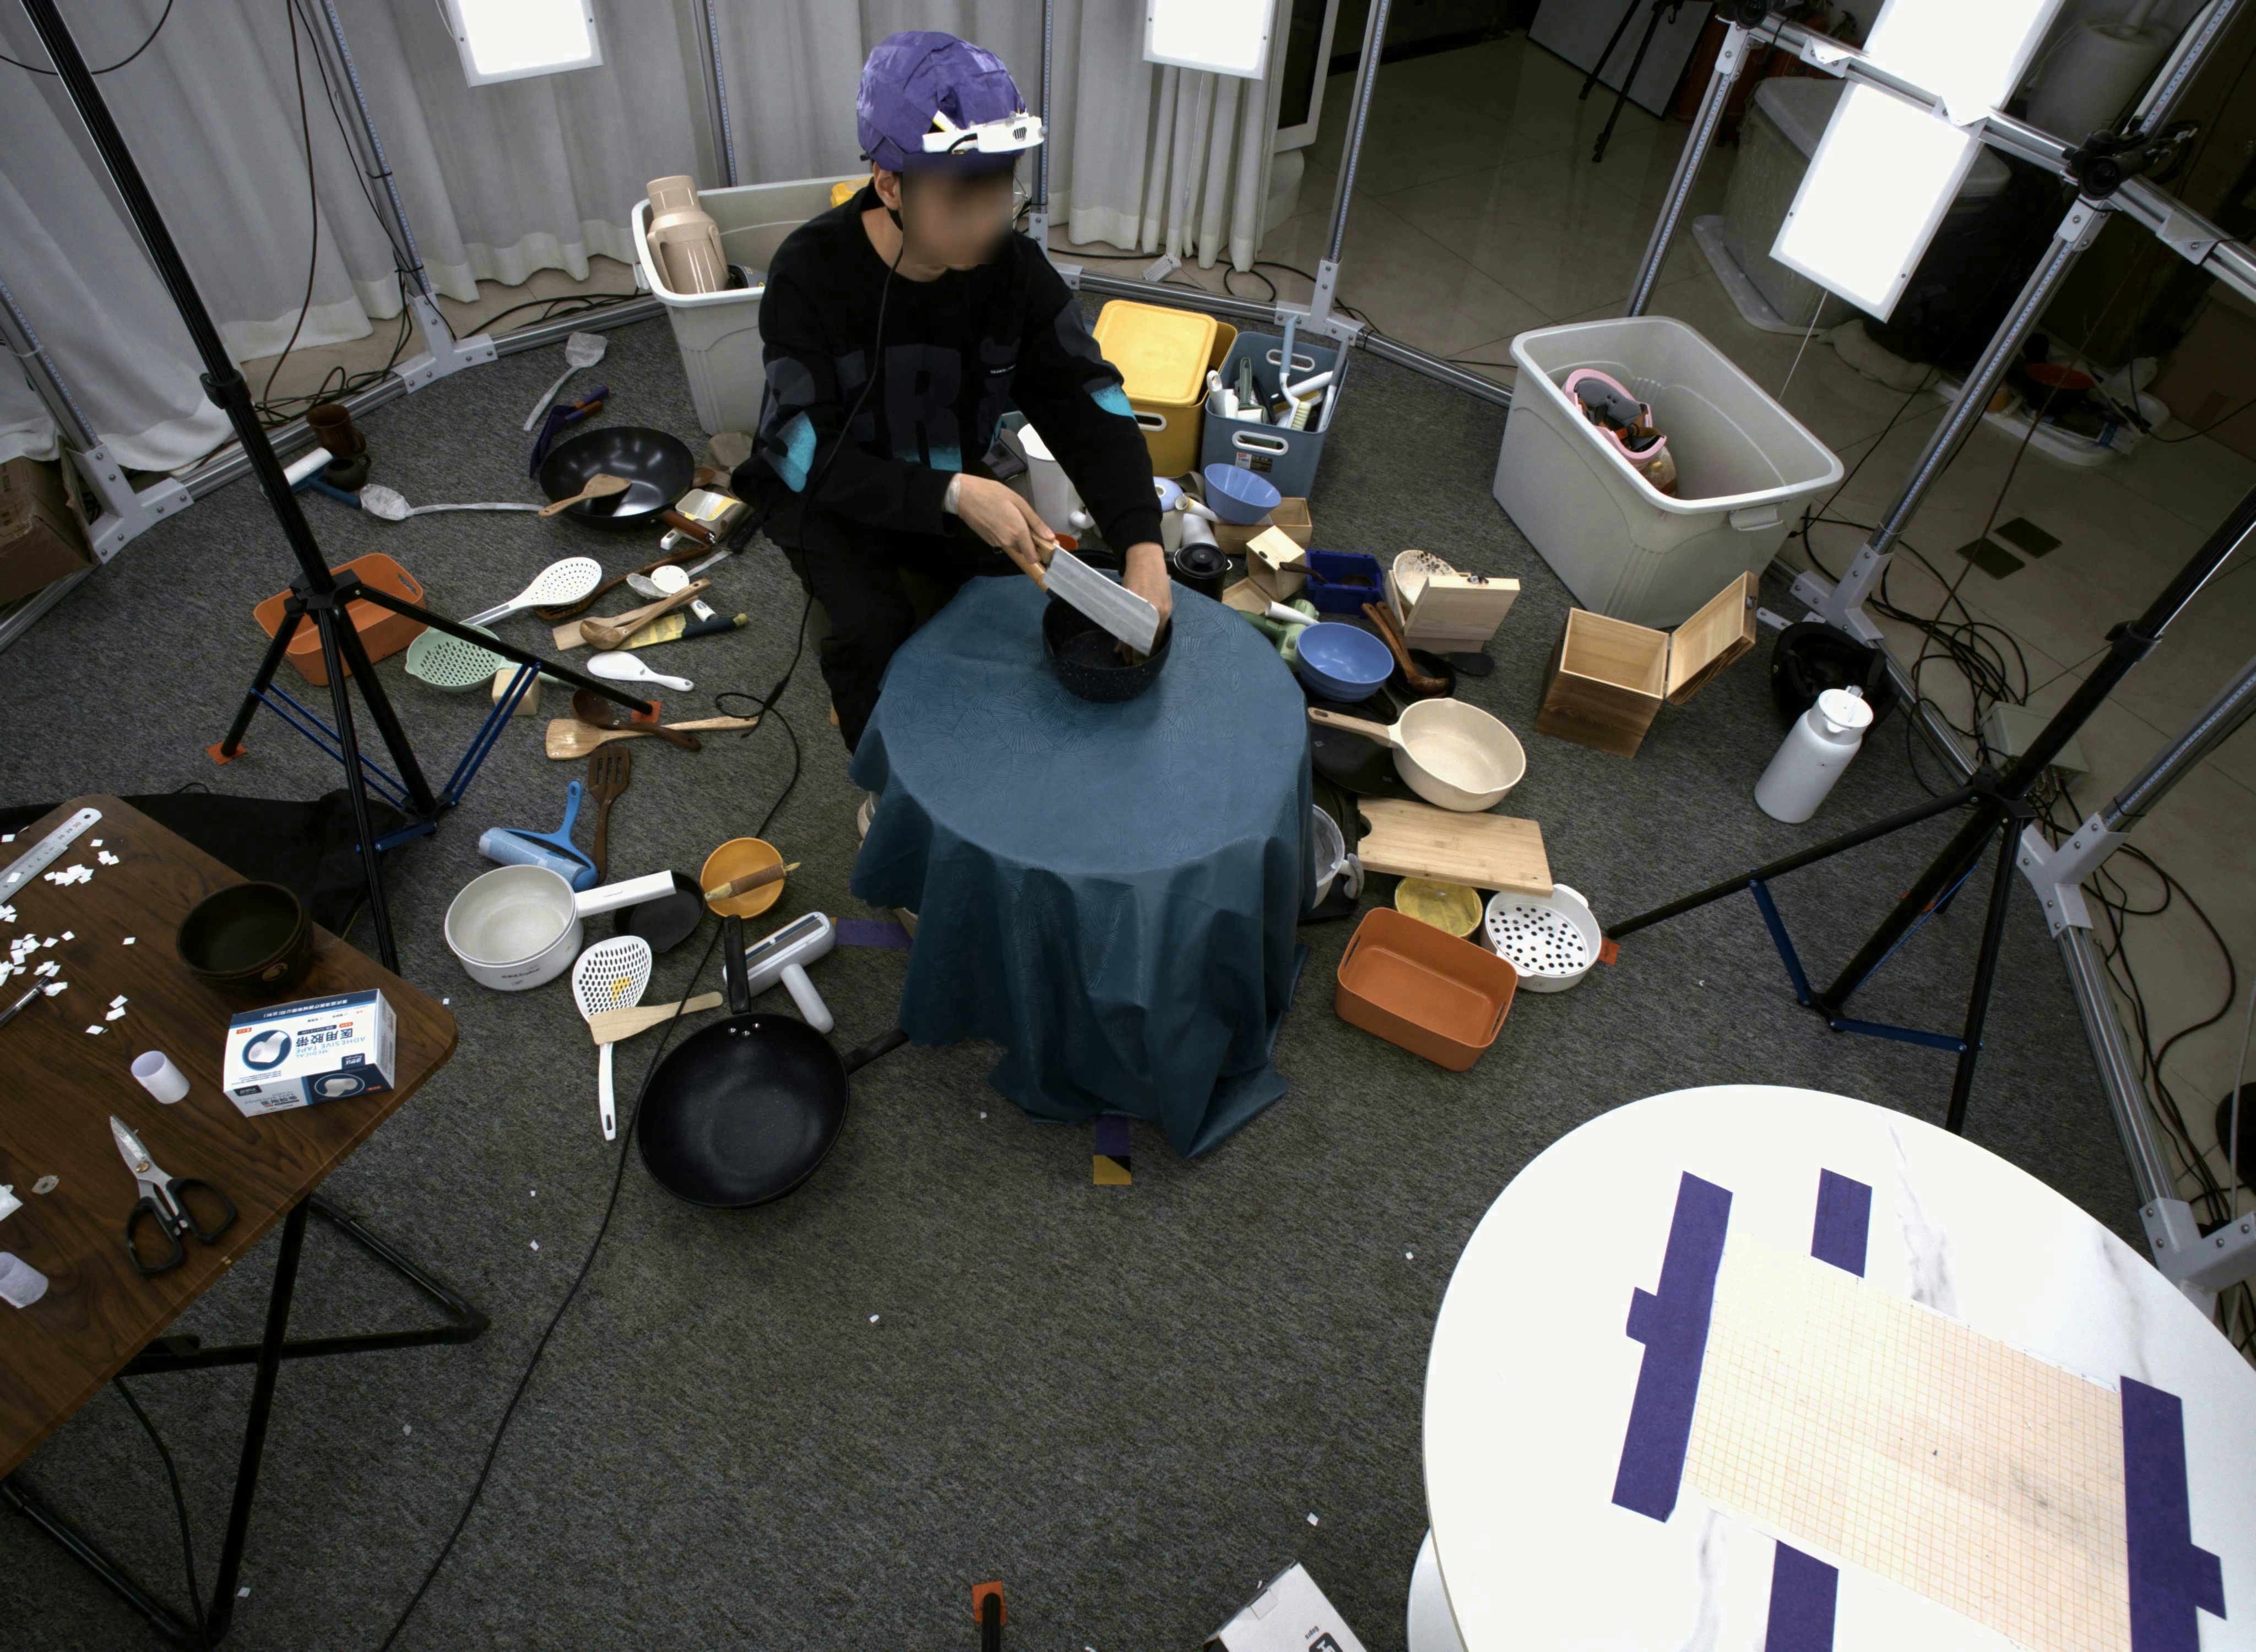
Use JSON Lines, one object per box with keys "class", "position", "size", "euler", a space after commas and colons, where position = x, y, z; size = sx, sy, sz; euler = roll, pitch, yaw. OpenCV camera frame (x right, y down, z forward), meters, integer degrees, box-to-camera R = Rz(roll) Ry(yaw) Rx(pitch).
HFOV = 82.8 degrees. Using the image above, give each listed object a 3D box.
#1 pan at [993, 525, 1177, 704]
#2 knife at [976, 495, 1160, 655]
{"class": "pan", "position": [-0.081, -0.311, 1.863], "size": [0.209, 0.105, 0.348], "euler": [-35, 61, -28]}
{"class": "knife", "position": [-0.081, -0.352, 1.773], "size": [0.316, 0.112, 0.022], "euler": [38, 58, 5]}
